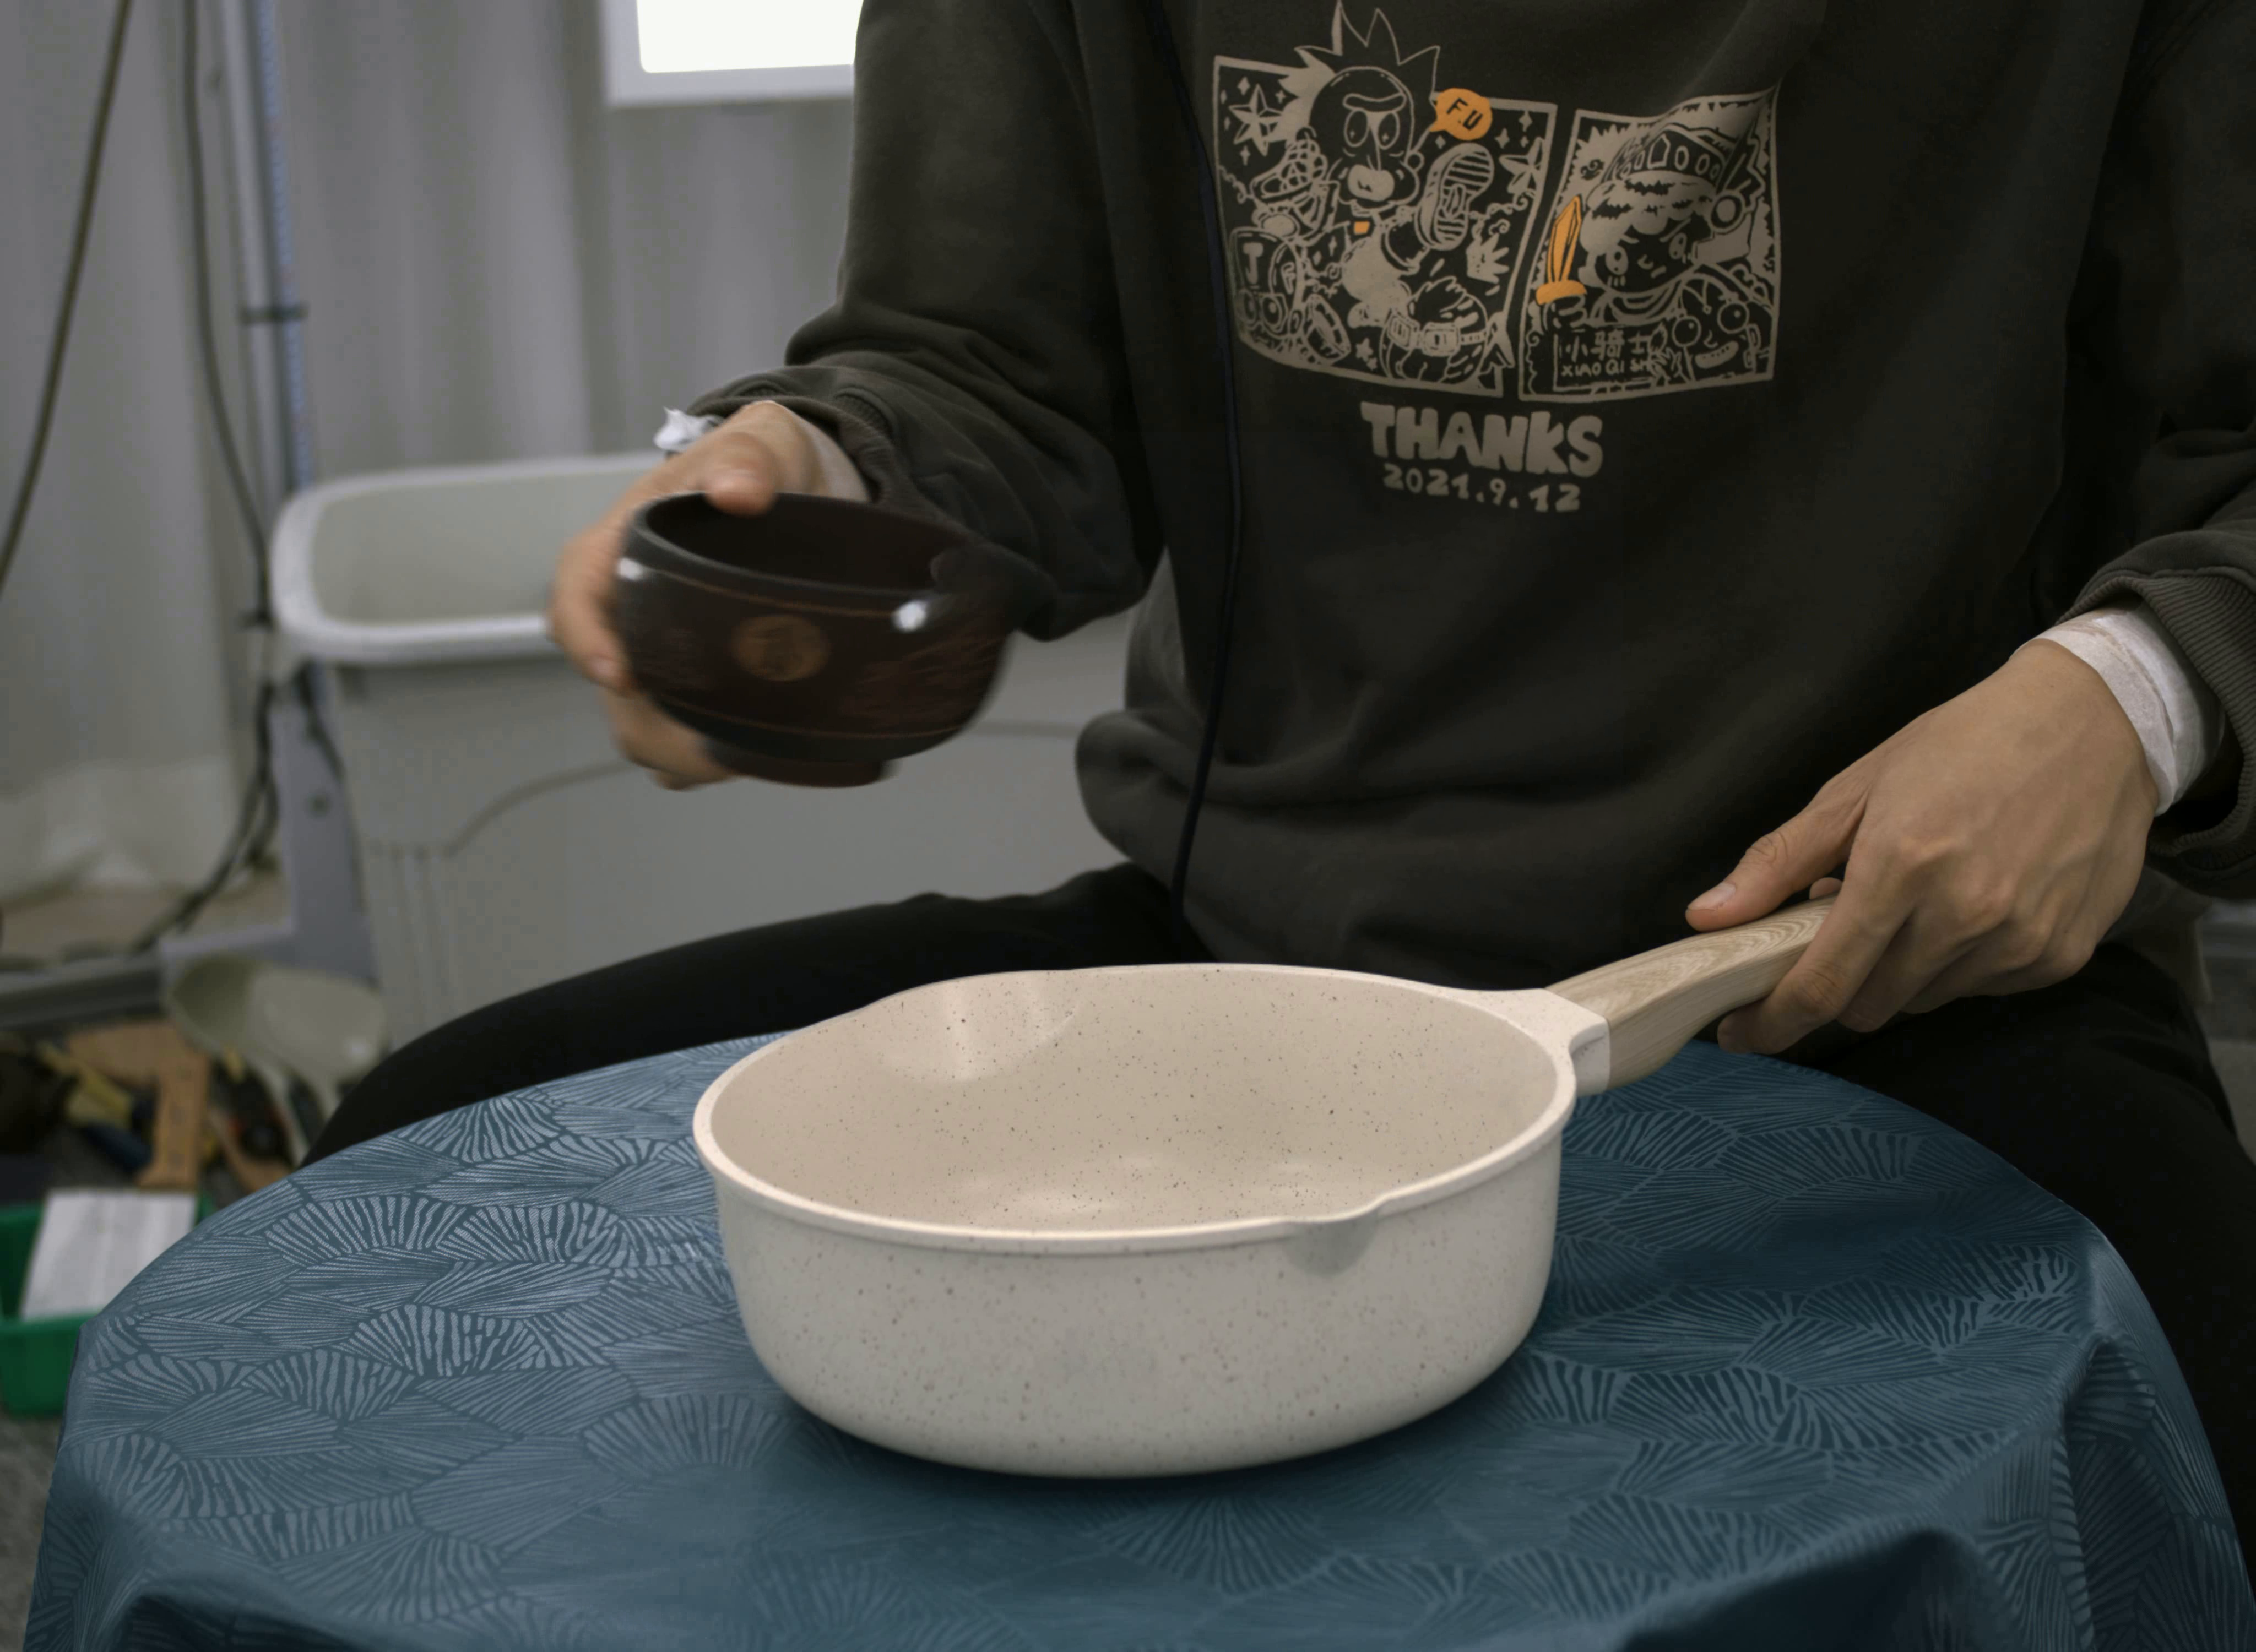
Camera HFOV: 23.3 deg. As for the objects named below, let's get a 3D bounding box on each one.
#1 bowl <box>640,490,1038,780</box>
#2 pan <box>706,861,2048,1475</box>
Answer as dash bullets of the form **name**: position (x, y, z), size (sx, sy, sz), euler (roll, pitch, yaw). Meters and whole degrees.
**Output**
- **bowl**: position (-0.087, -0.054, 1.628), size (0.117, 0.069, 0.119), euler (6, 14, -2)
- **pan**: position (0.089, 0.093, 1.596), size (0.433, 0.101, 0.265), euler (-9, 14, -24)
